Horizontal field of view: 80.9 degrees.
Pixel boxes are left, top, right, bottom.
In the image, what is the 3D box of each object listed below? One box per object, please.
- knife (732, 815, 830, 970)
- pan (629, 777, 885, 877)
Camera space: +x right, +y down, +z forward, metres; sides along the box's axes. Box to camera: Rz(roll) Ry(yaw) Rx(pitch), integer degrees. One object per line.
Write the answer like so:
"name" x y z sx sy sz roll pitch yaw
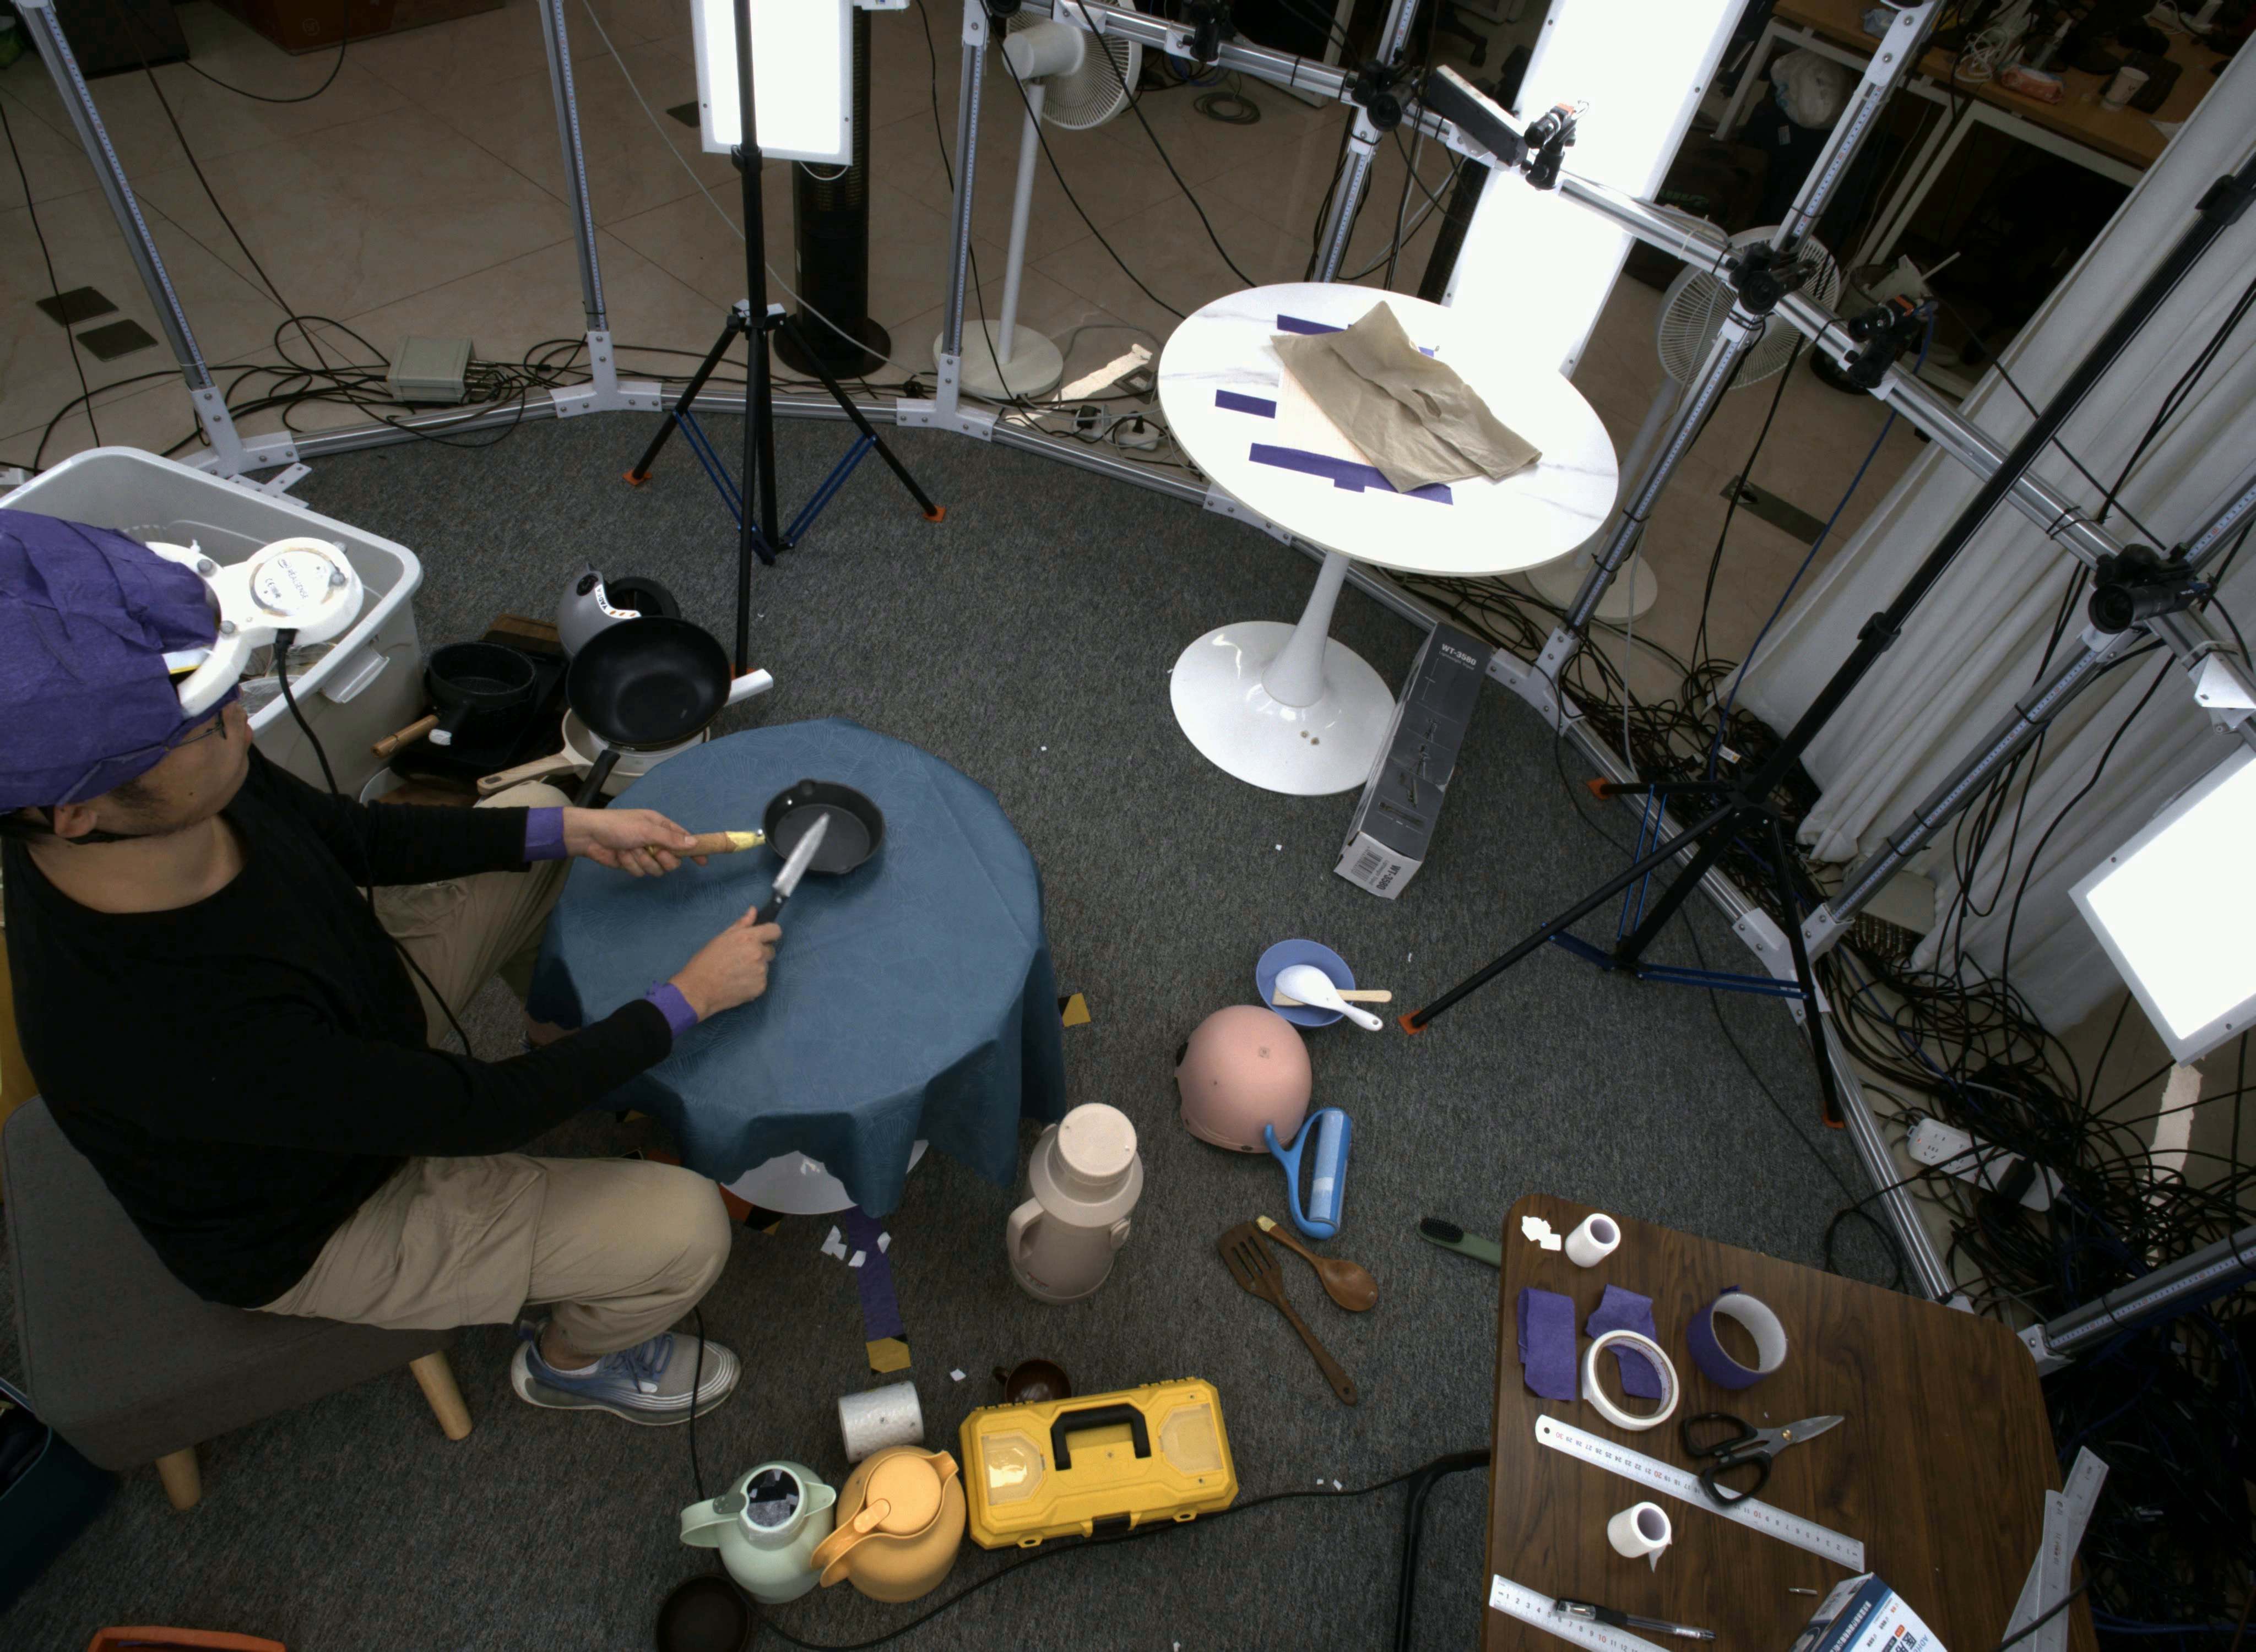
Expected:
"knife" -0.420 0.078 1.594 0.025 0.016 0.236 35 56 -16
"pan" -0.471 0.015 1.647 0.327 0.050 0.164 -10 53 -27
